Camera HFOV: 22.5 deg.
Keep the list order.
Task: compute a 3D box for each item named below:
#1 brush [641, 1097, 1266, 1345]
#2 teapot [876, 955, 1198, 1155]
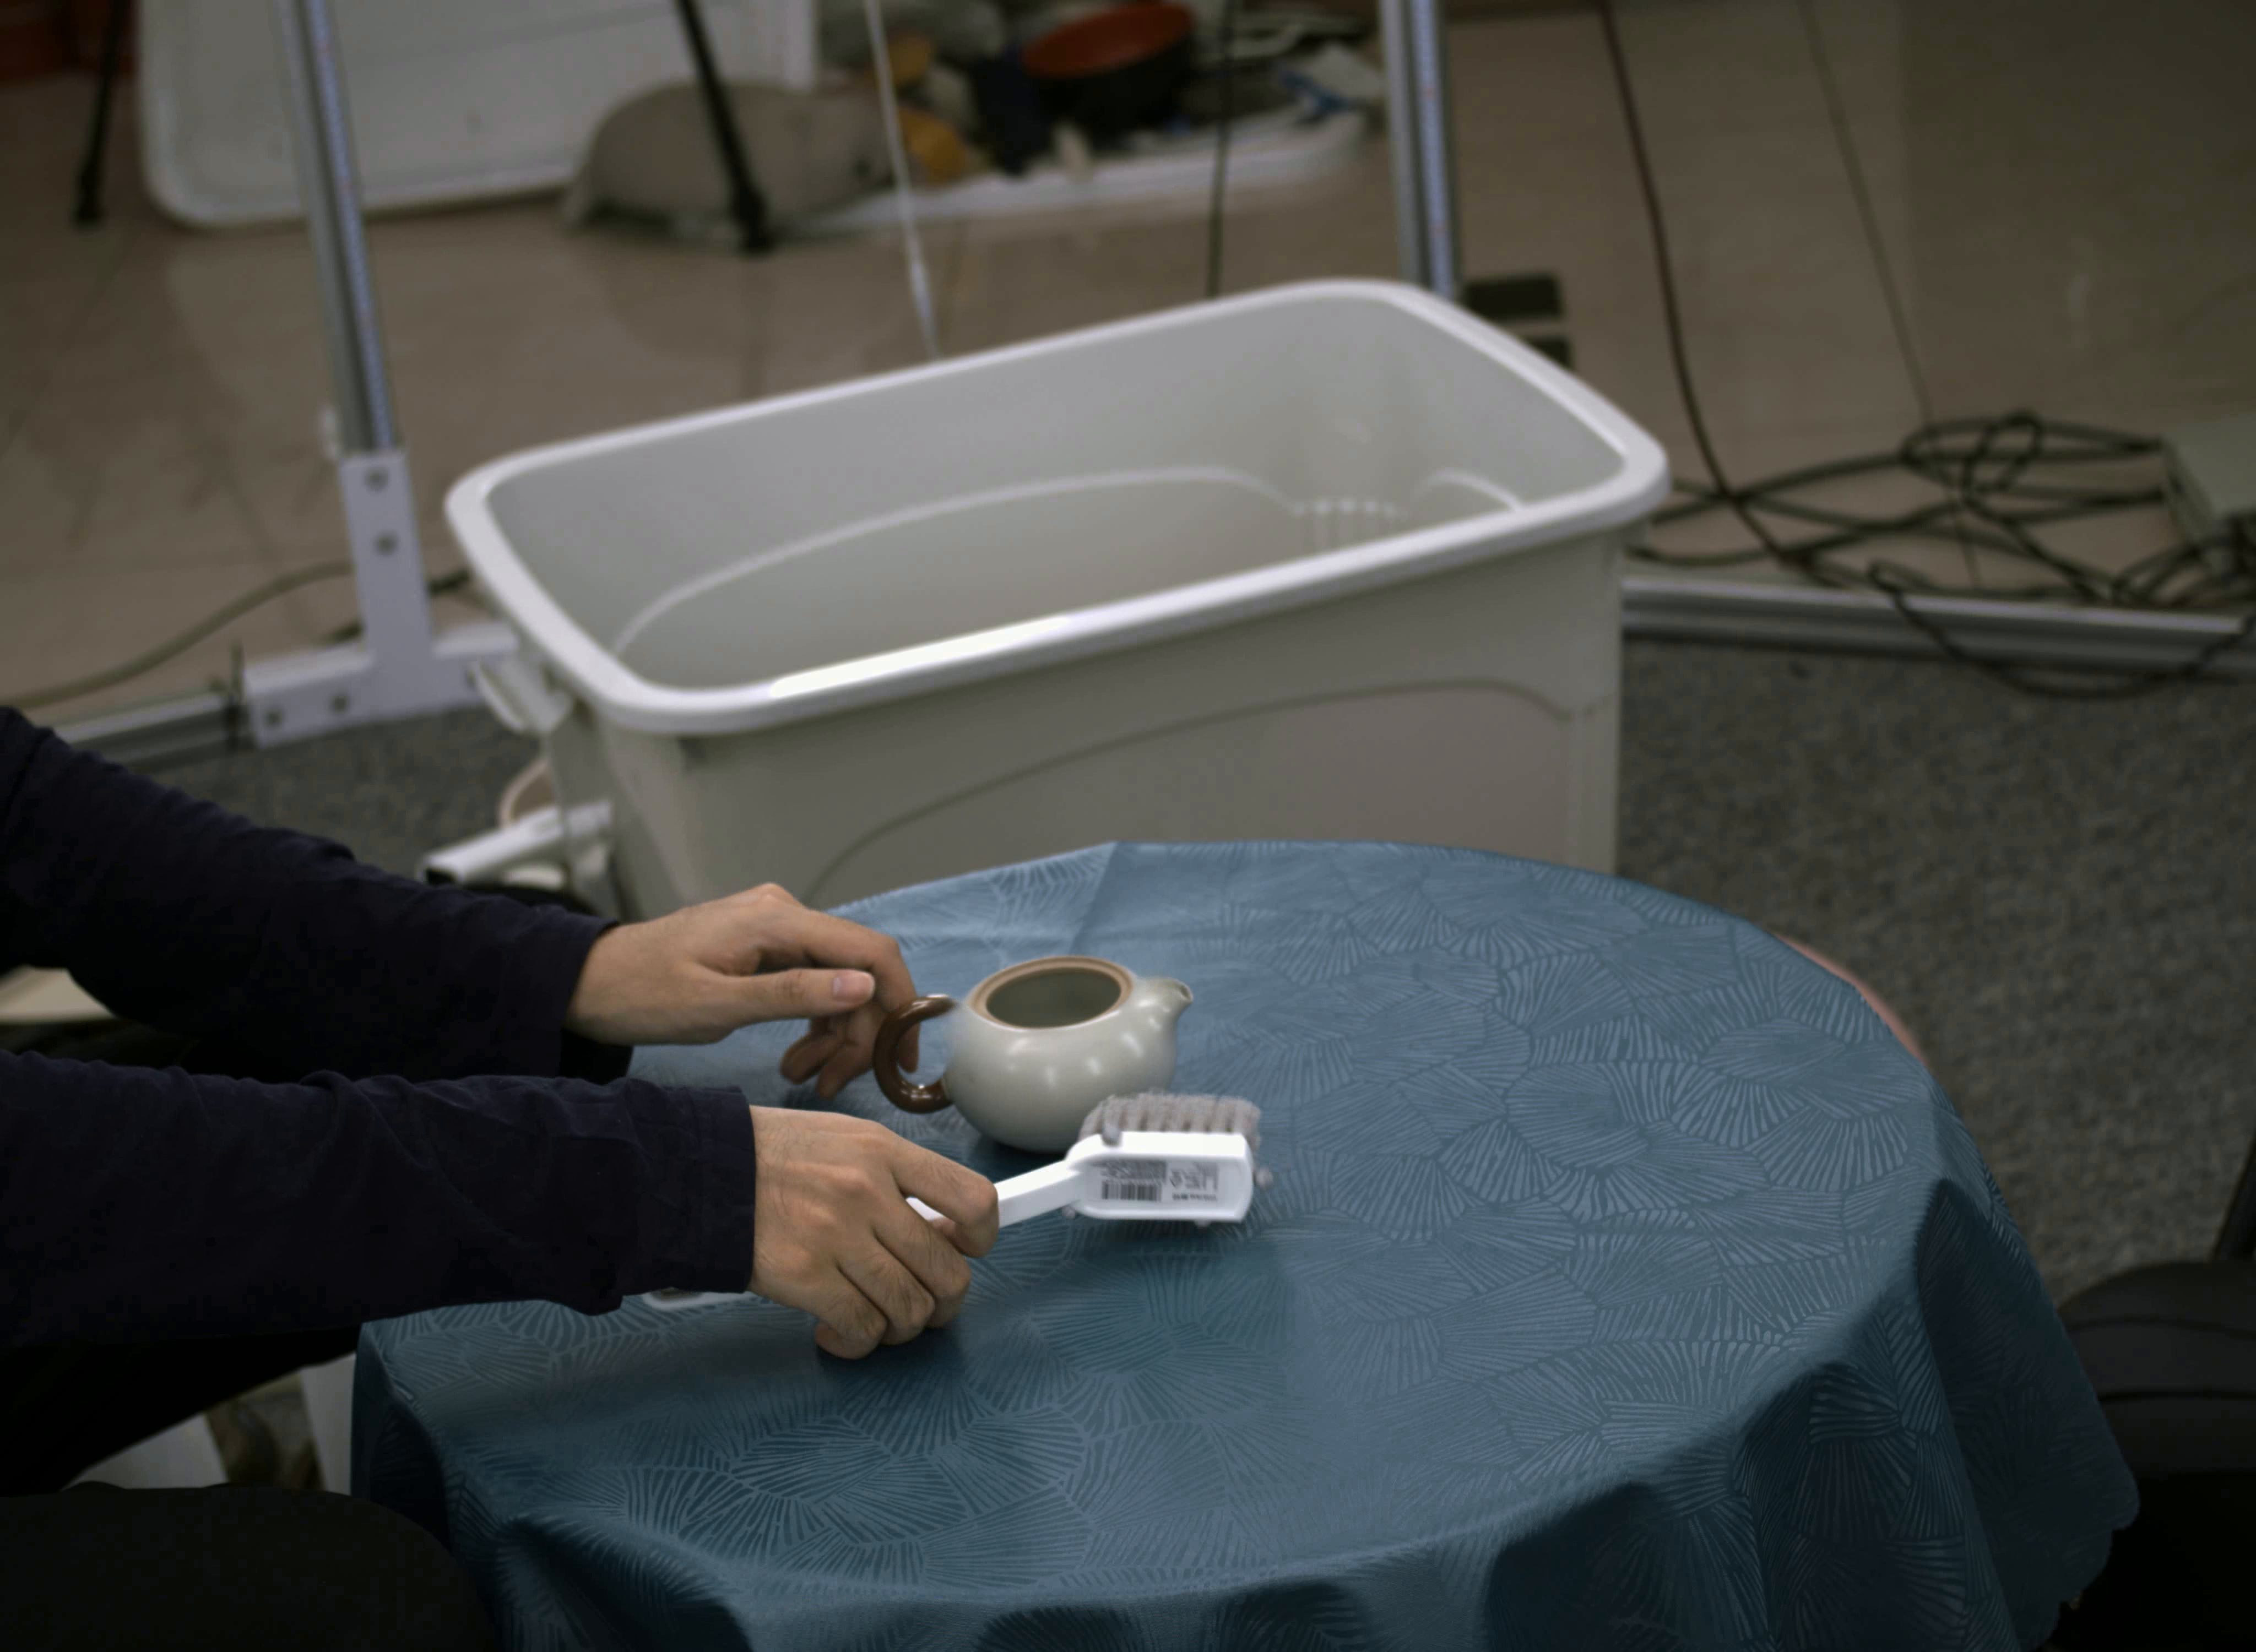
[{"bbox_3d":[-0.064,0.142,2.085,0.243,0.035,0.049,-12,56,-10],"label":"brush"},{"bbox_3d":[-0.034,0.090,2.195,0.128,0.060,0.090,-4,28,5],"label":"teapot"}]
